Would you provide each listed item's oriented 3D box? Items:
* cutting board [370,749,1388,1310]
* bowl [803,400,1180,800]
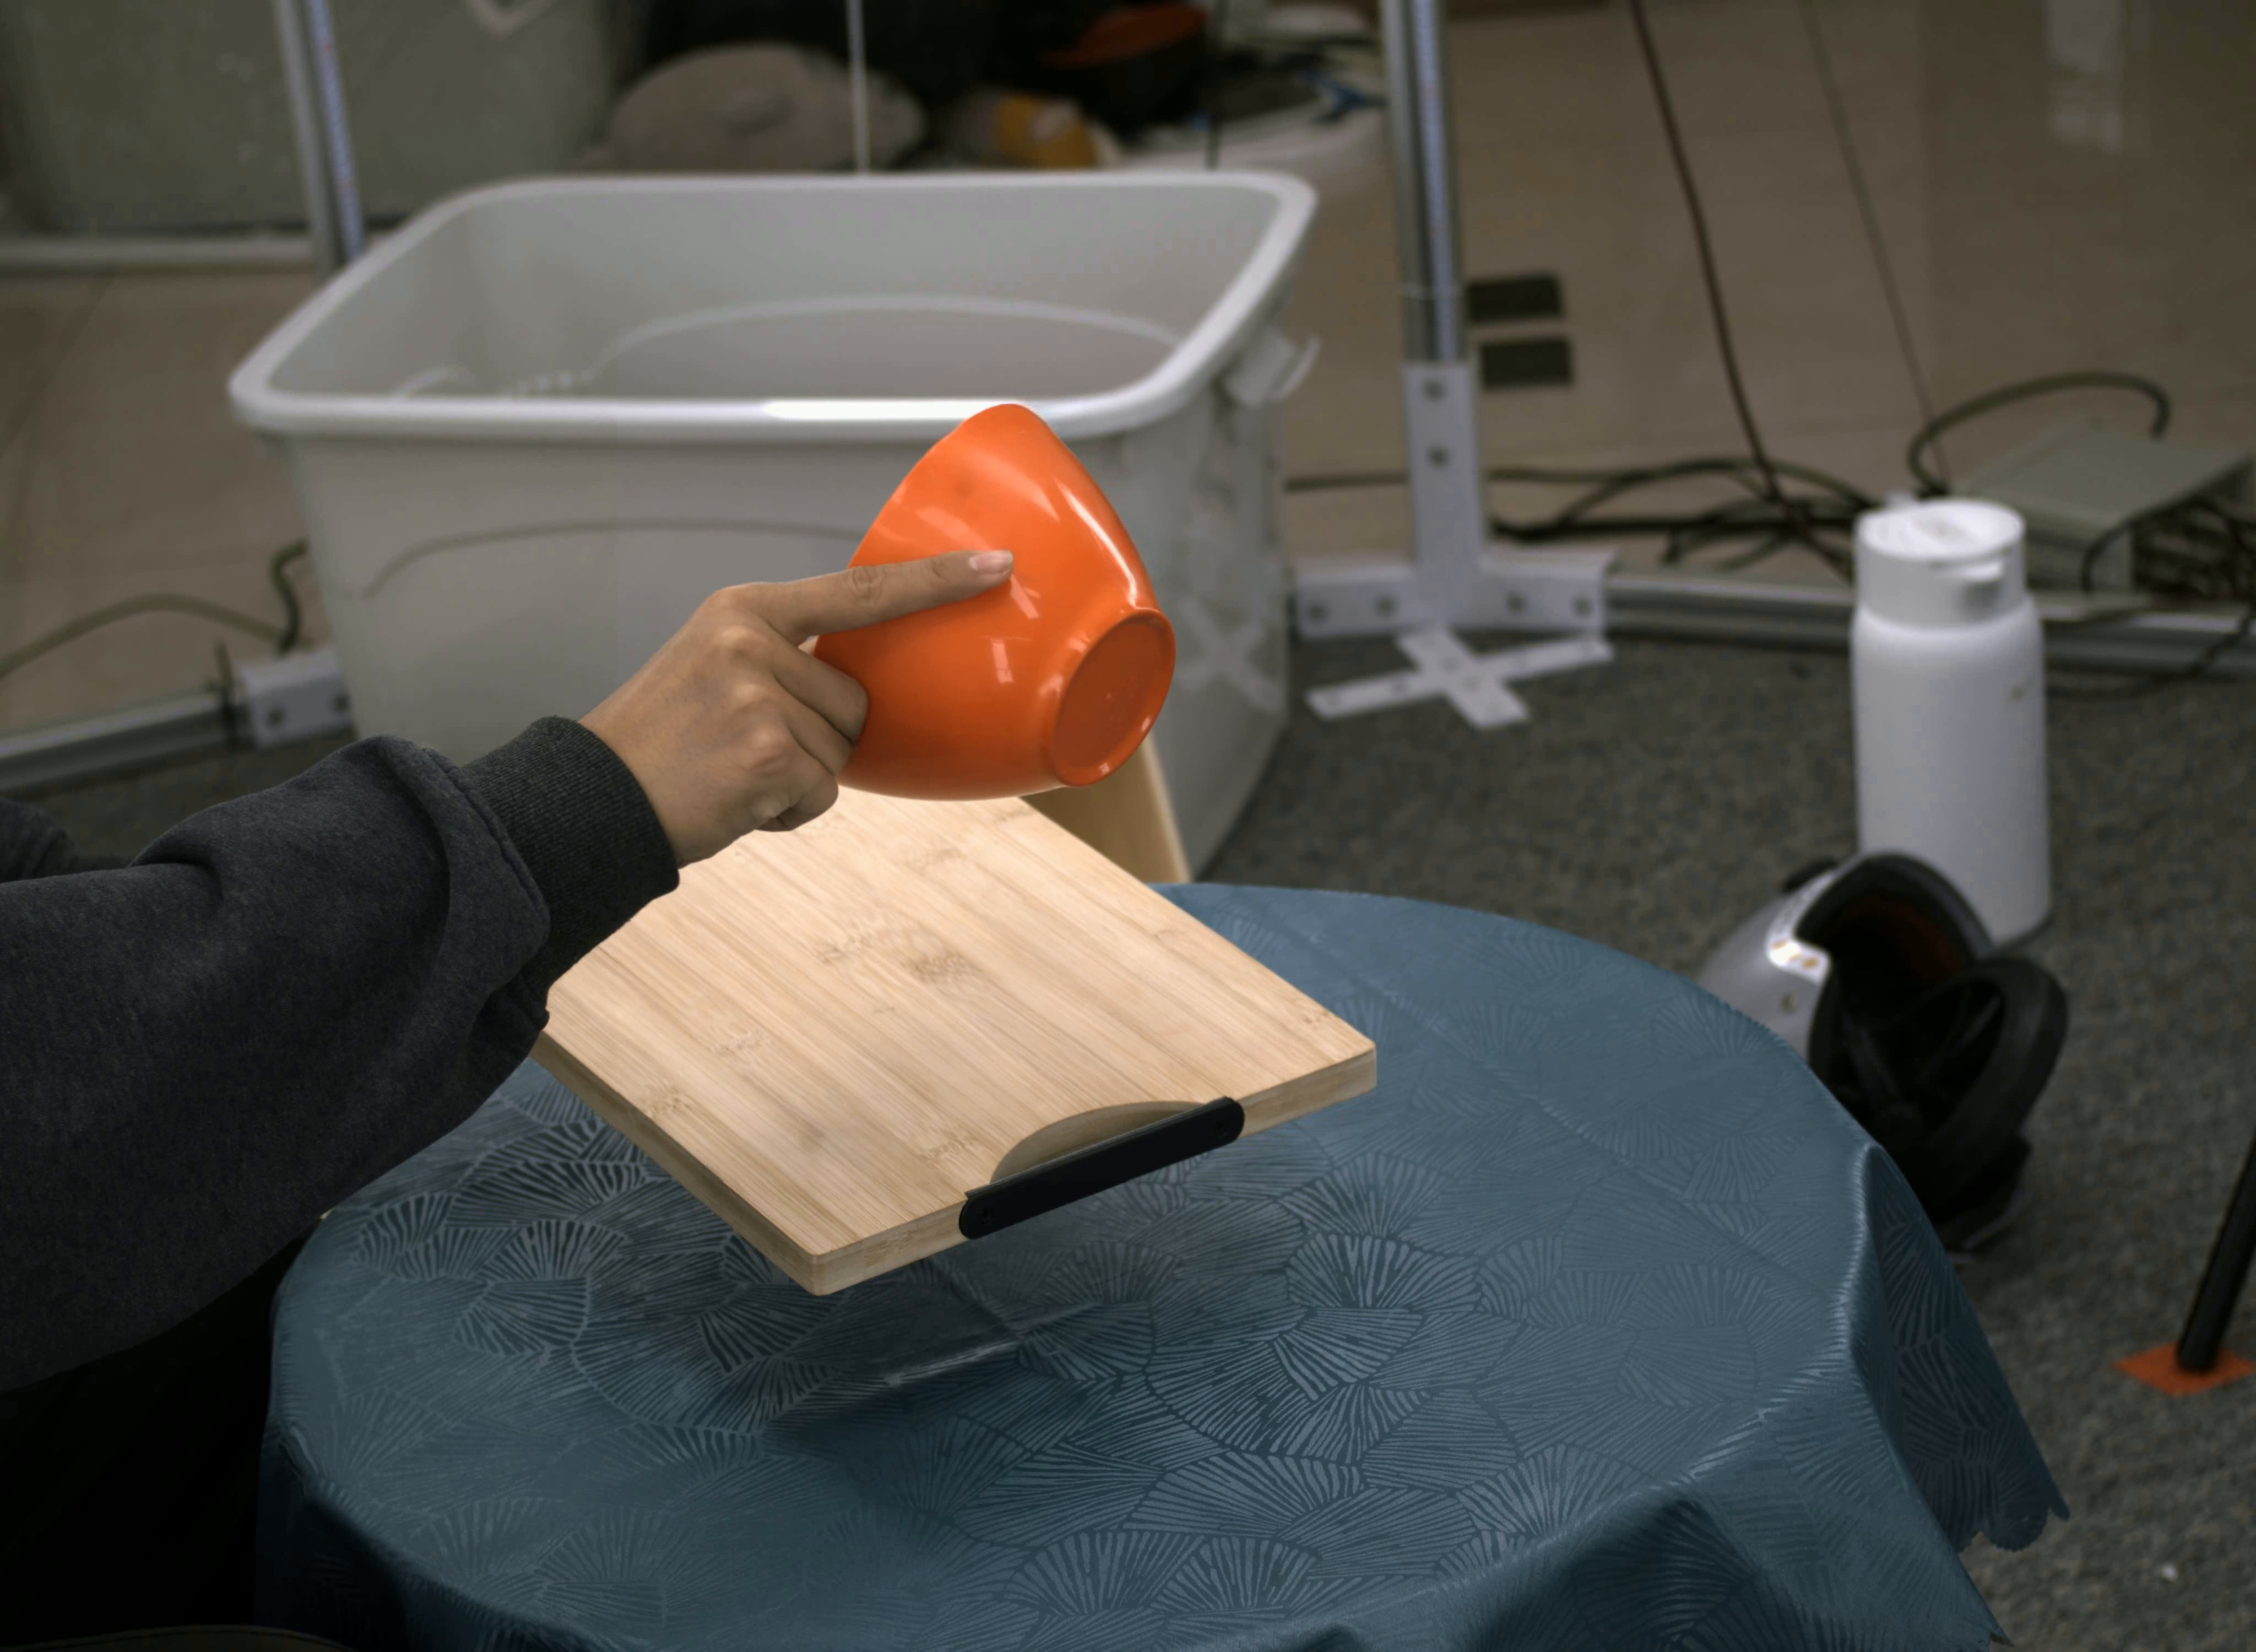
[{"bbox_3d":[-0.099,0.061,2.114,0.249,0.024,0.344,-20,33,-29],"label":"cutting board"},{"bbox_3d":[-0.037,-0.064,1.940,0.103,0.151,0.146,31,41,28],"label":"bowl"}]
